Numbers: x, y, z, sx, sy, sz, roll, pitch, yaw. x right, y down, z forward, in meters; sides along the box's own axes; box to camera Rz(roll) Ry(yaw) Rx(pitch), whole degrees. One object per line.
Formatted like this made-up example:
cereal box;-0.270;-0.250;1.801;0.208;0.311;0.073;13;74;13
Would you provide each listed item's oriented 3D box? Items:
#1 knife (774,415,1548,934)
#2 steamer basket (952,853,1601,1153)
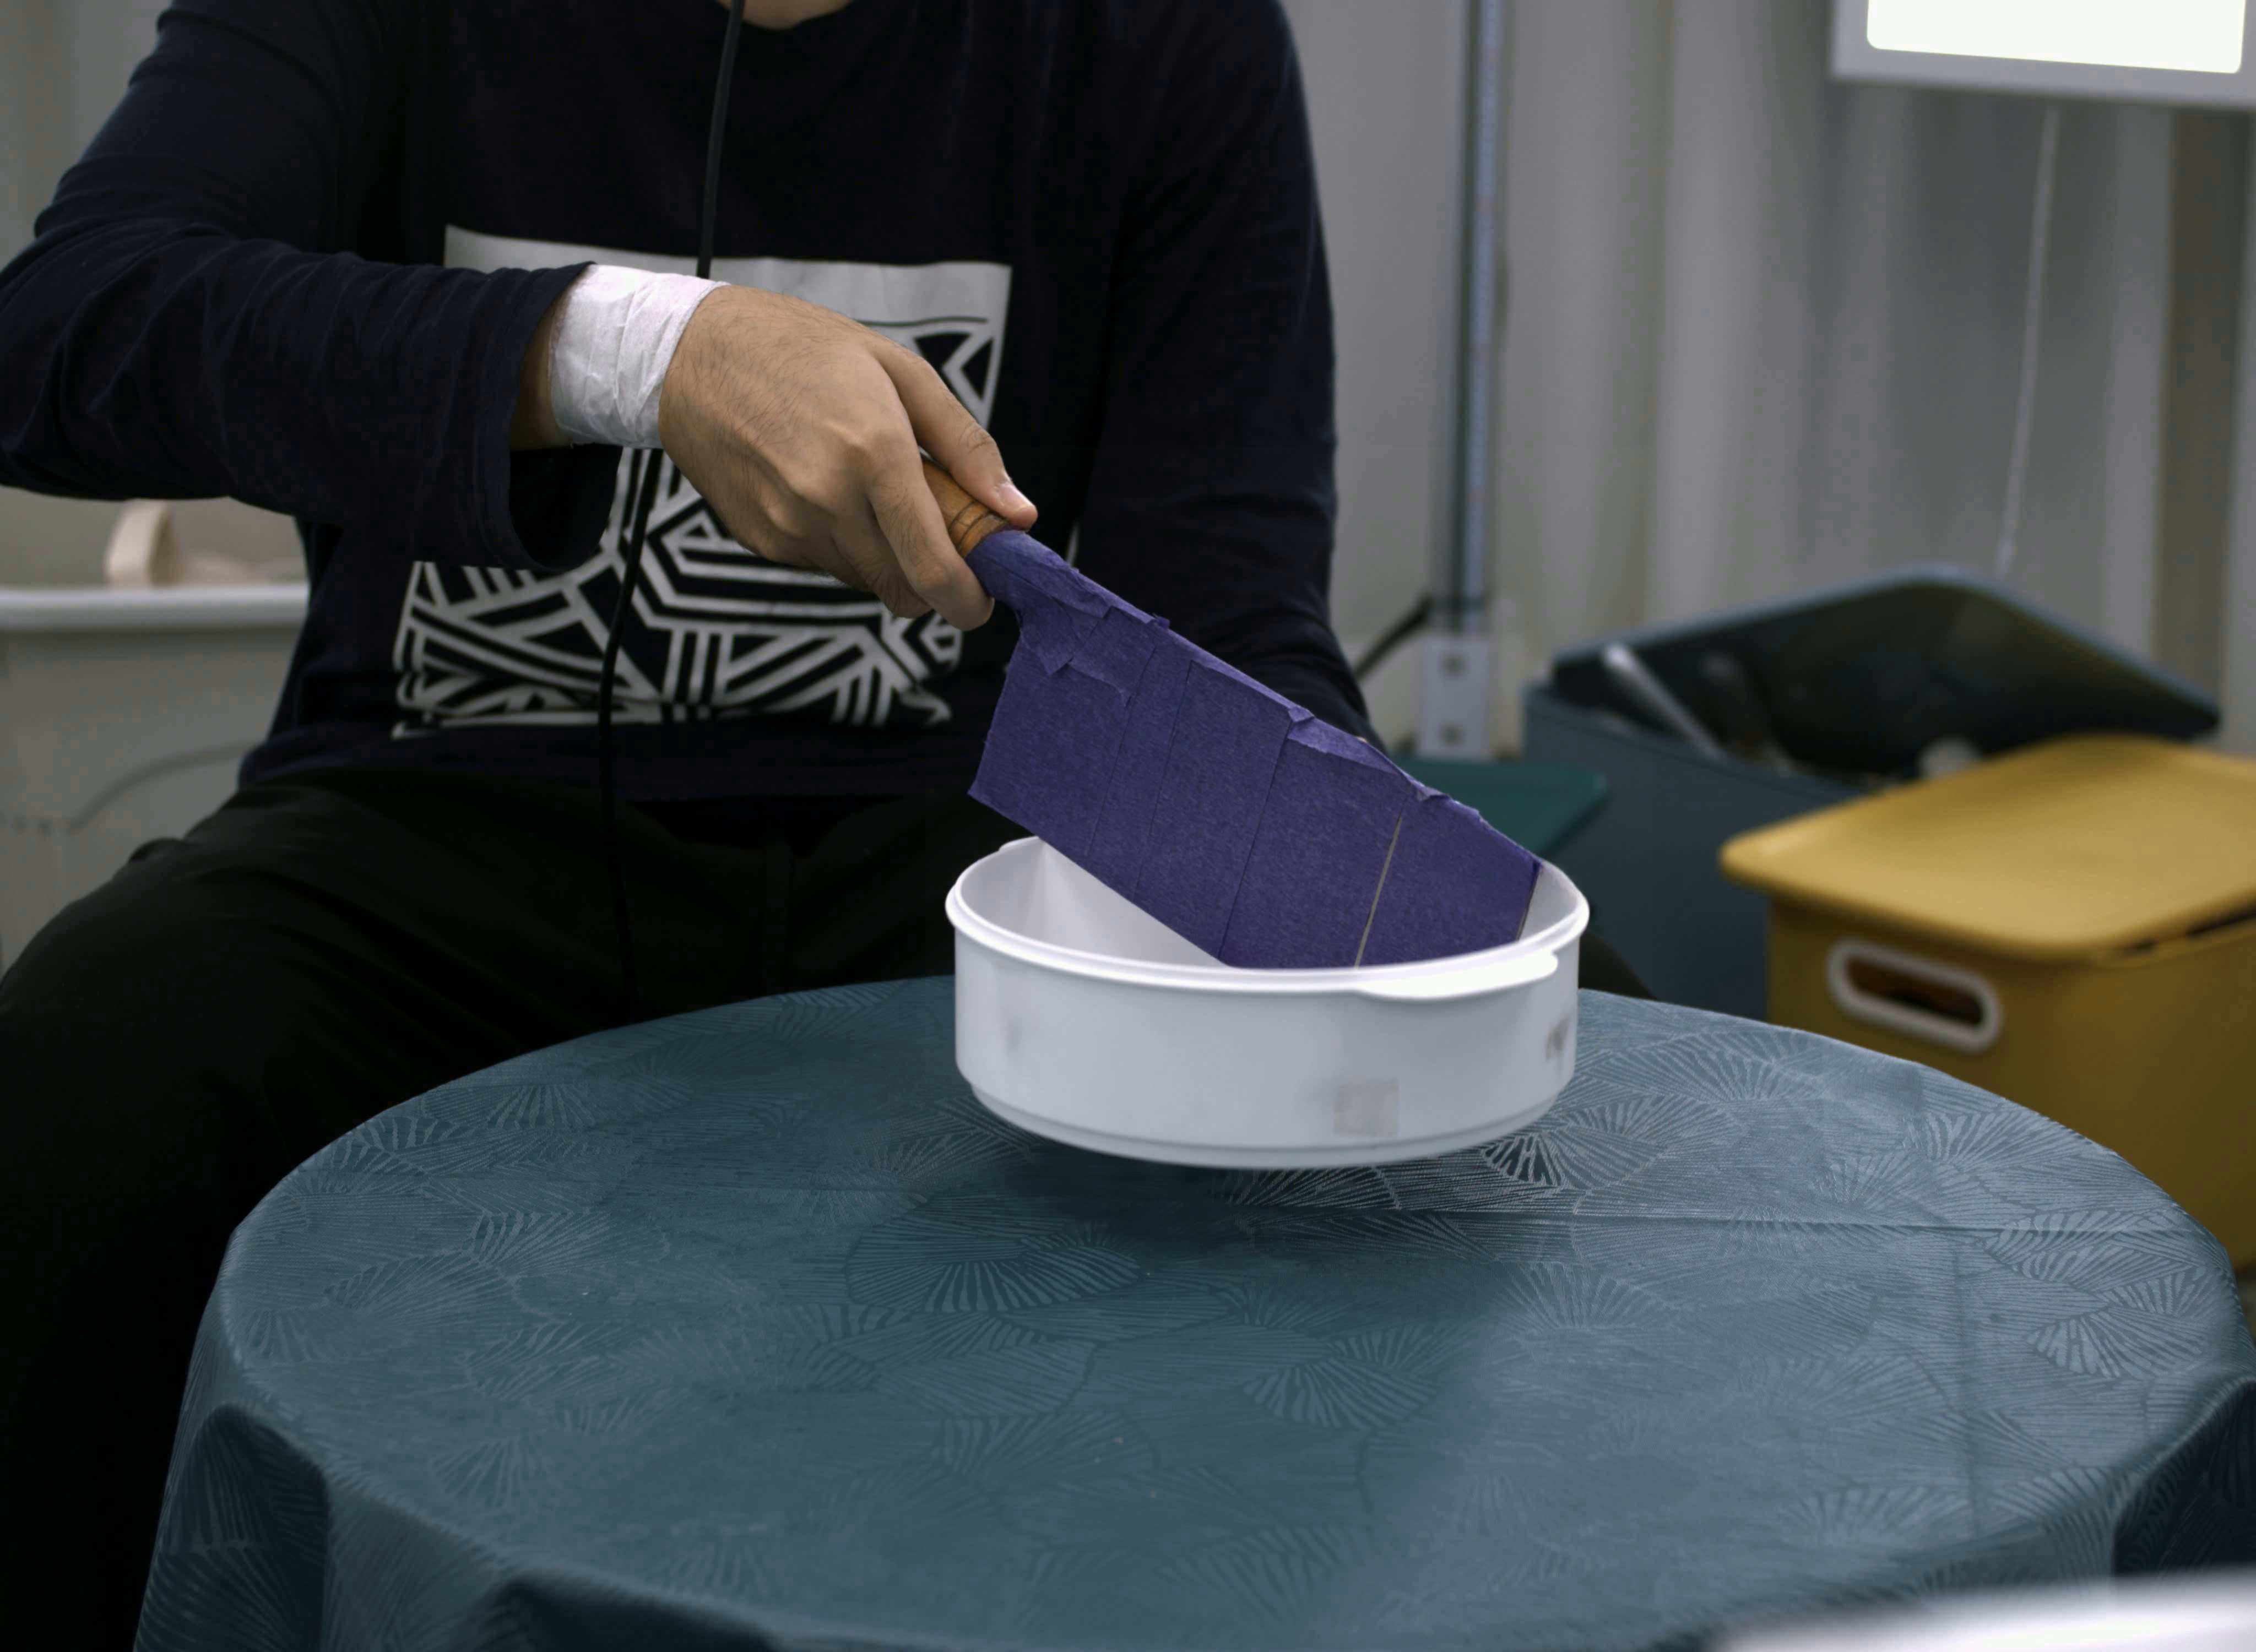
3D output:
knife;-0.002;-0.026;1.658;0.311;0.104;0.032;32;28;31
steamer basket;0.046;0.052;1.636;0.203;0.070;0.228;-7;12;-35
